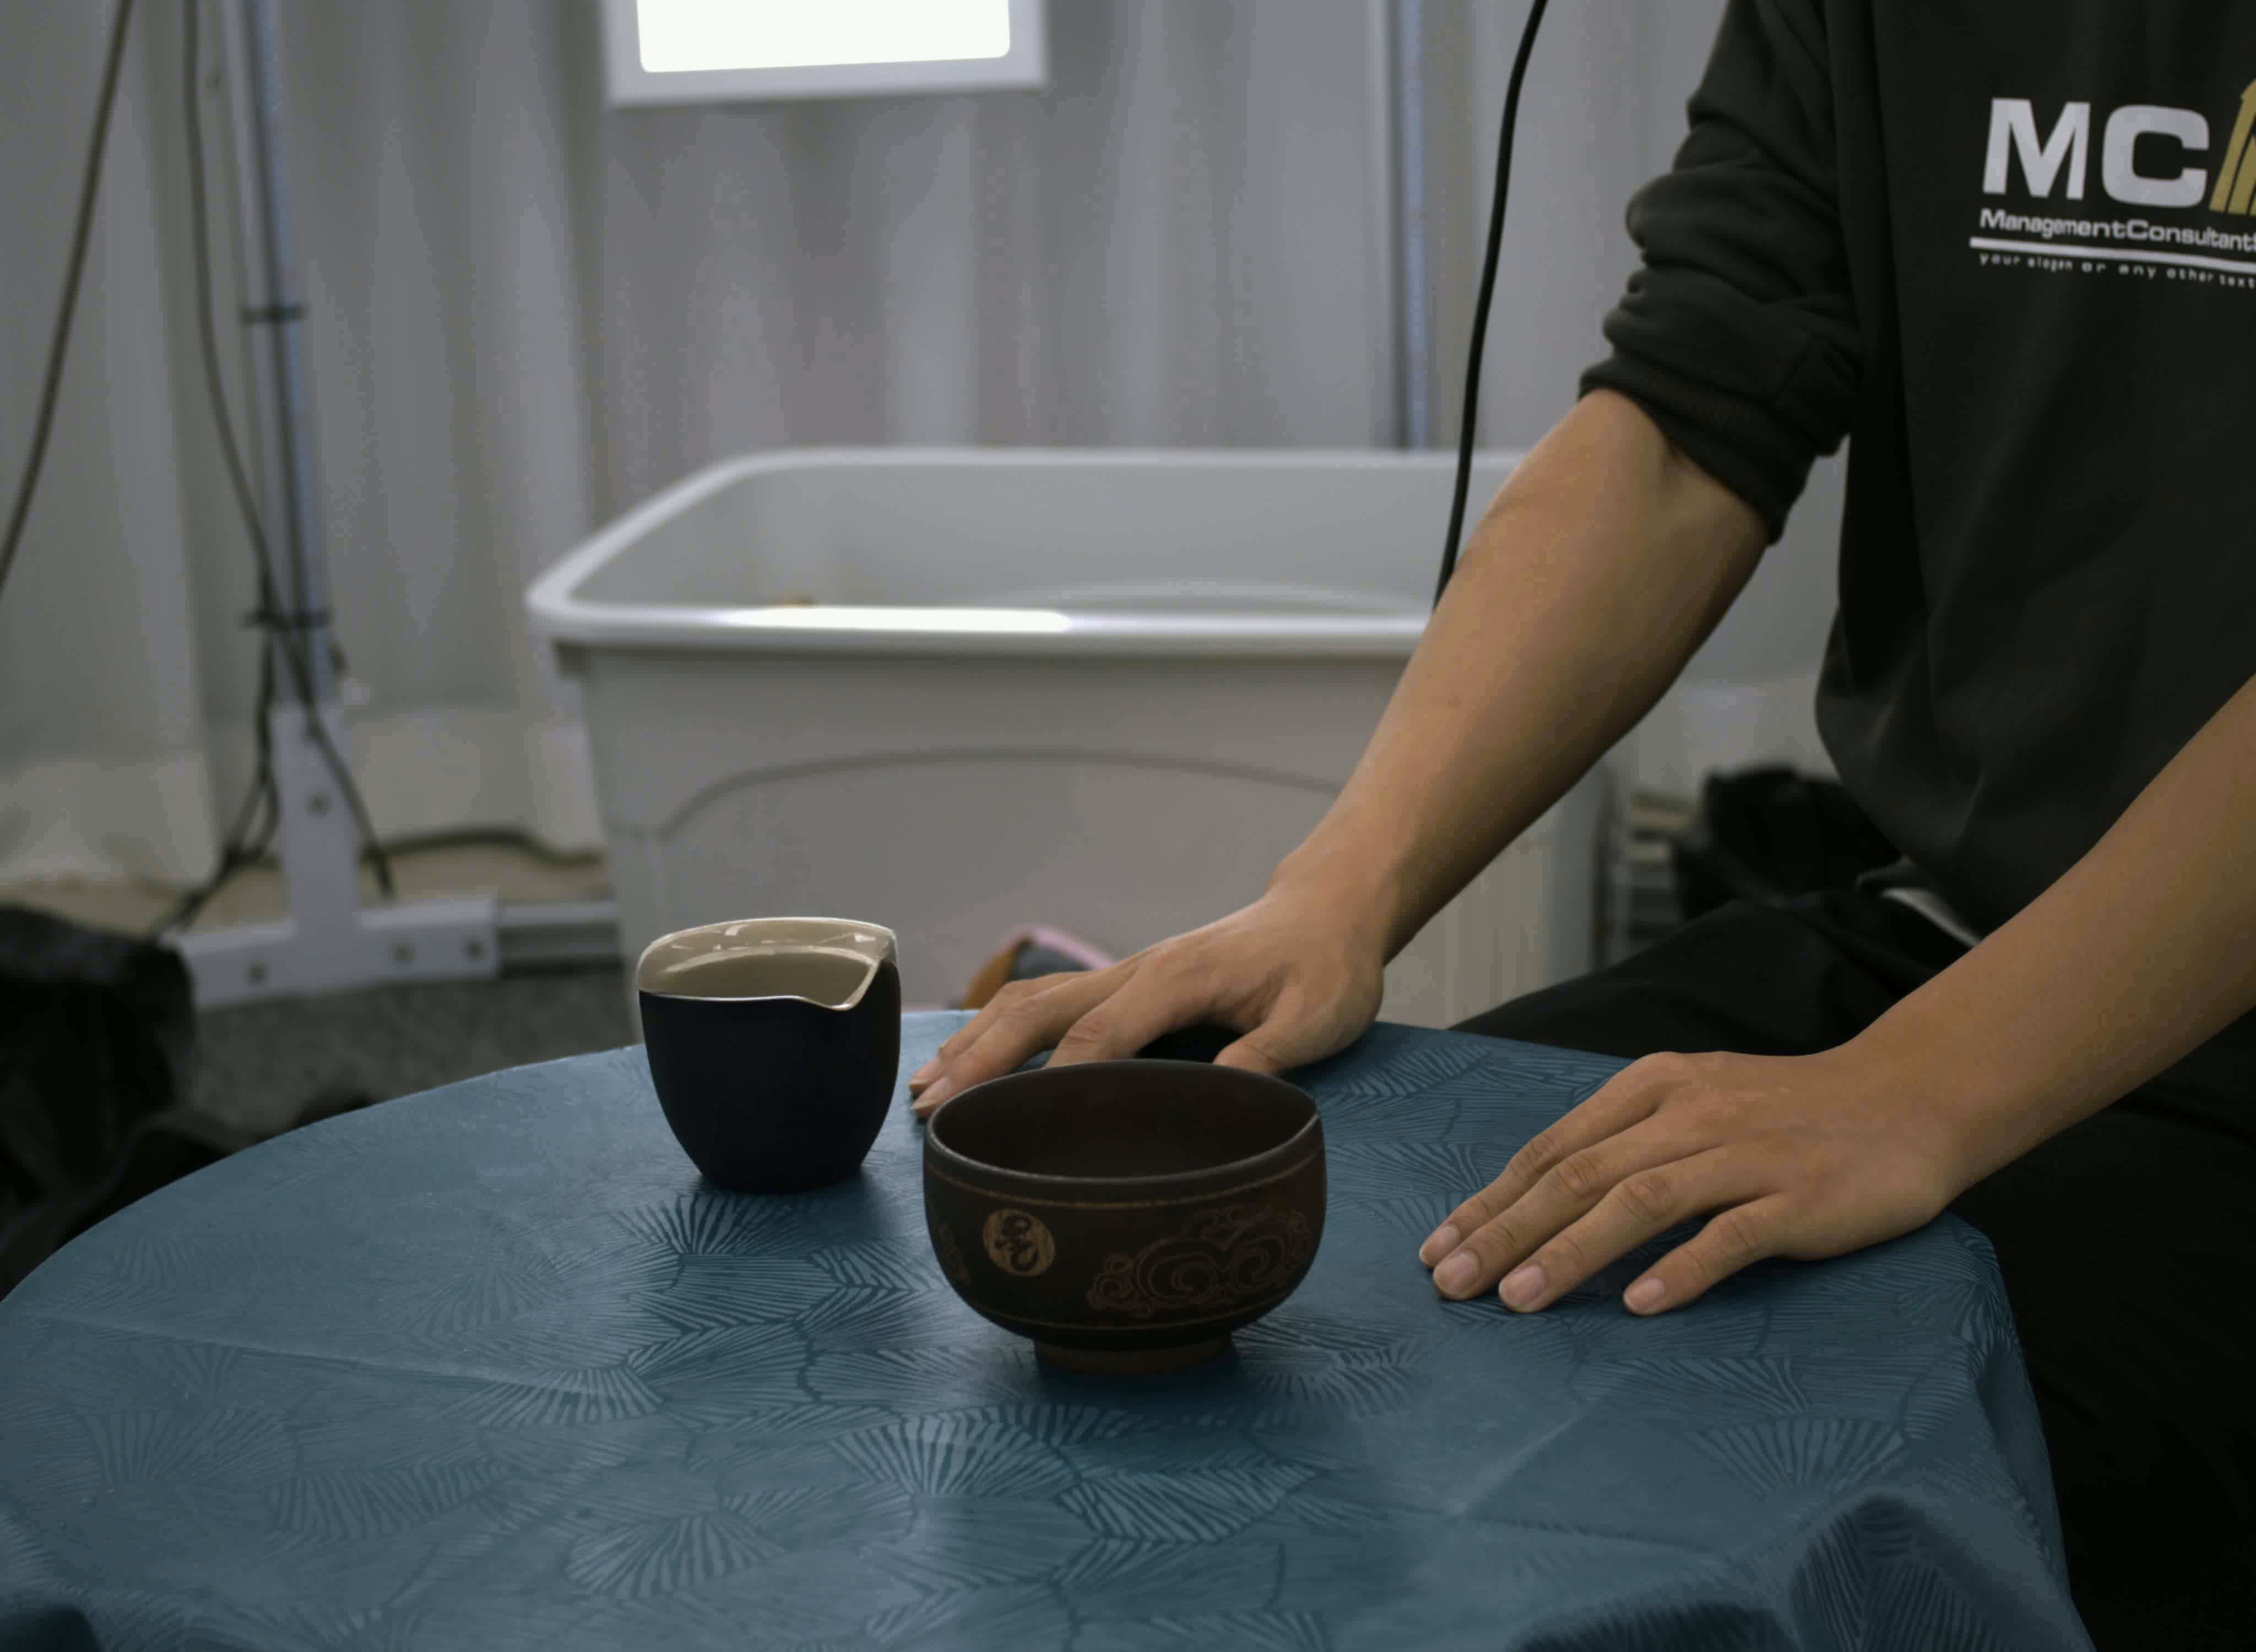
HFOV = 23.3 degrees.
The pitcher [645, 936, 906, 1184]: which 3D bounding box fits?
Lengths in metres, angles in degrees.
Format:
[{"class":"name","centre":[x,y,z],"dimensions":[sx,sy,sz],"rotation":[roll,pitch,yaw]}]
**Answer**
[{"class":"pitcher","centre":[-0.110,0.074,1.744],"dimensions":[0.083,0.071,0.097],"rotation":[-7,14,-22]}]

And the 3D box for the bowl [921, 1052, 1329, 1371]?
[{"class":"bowl","centre":[0.000,0.115,1.578],"dimensions":[0.117,0.069,0.119],"rotation":[-4,15,1]}]
